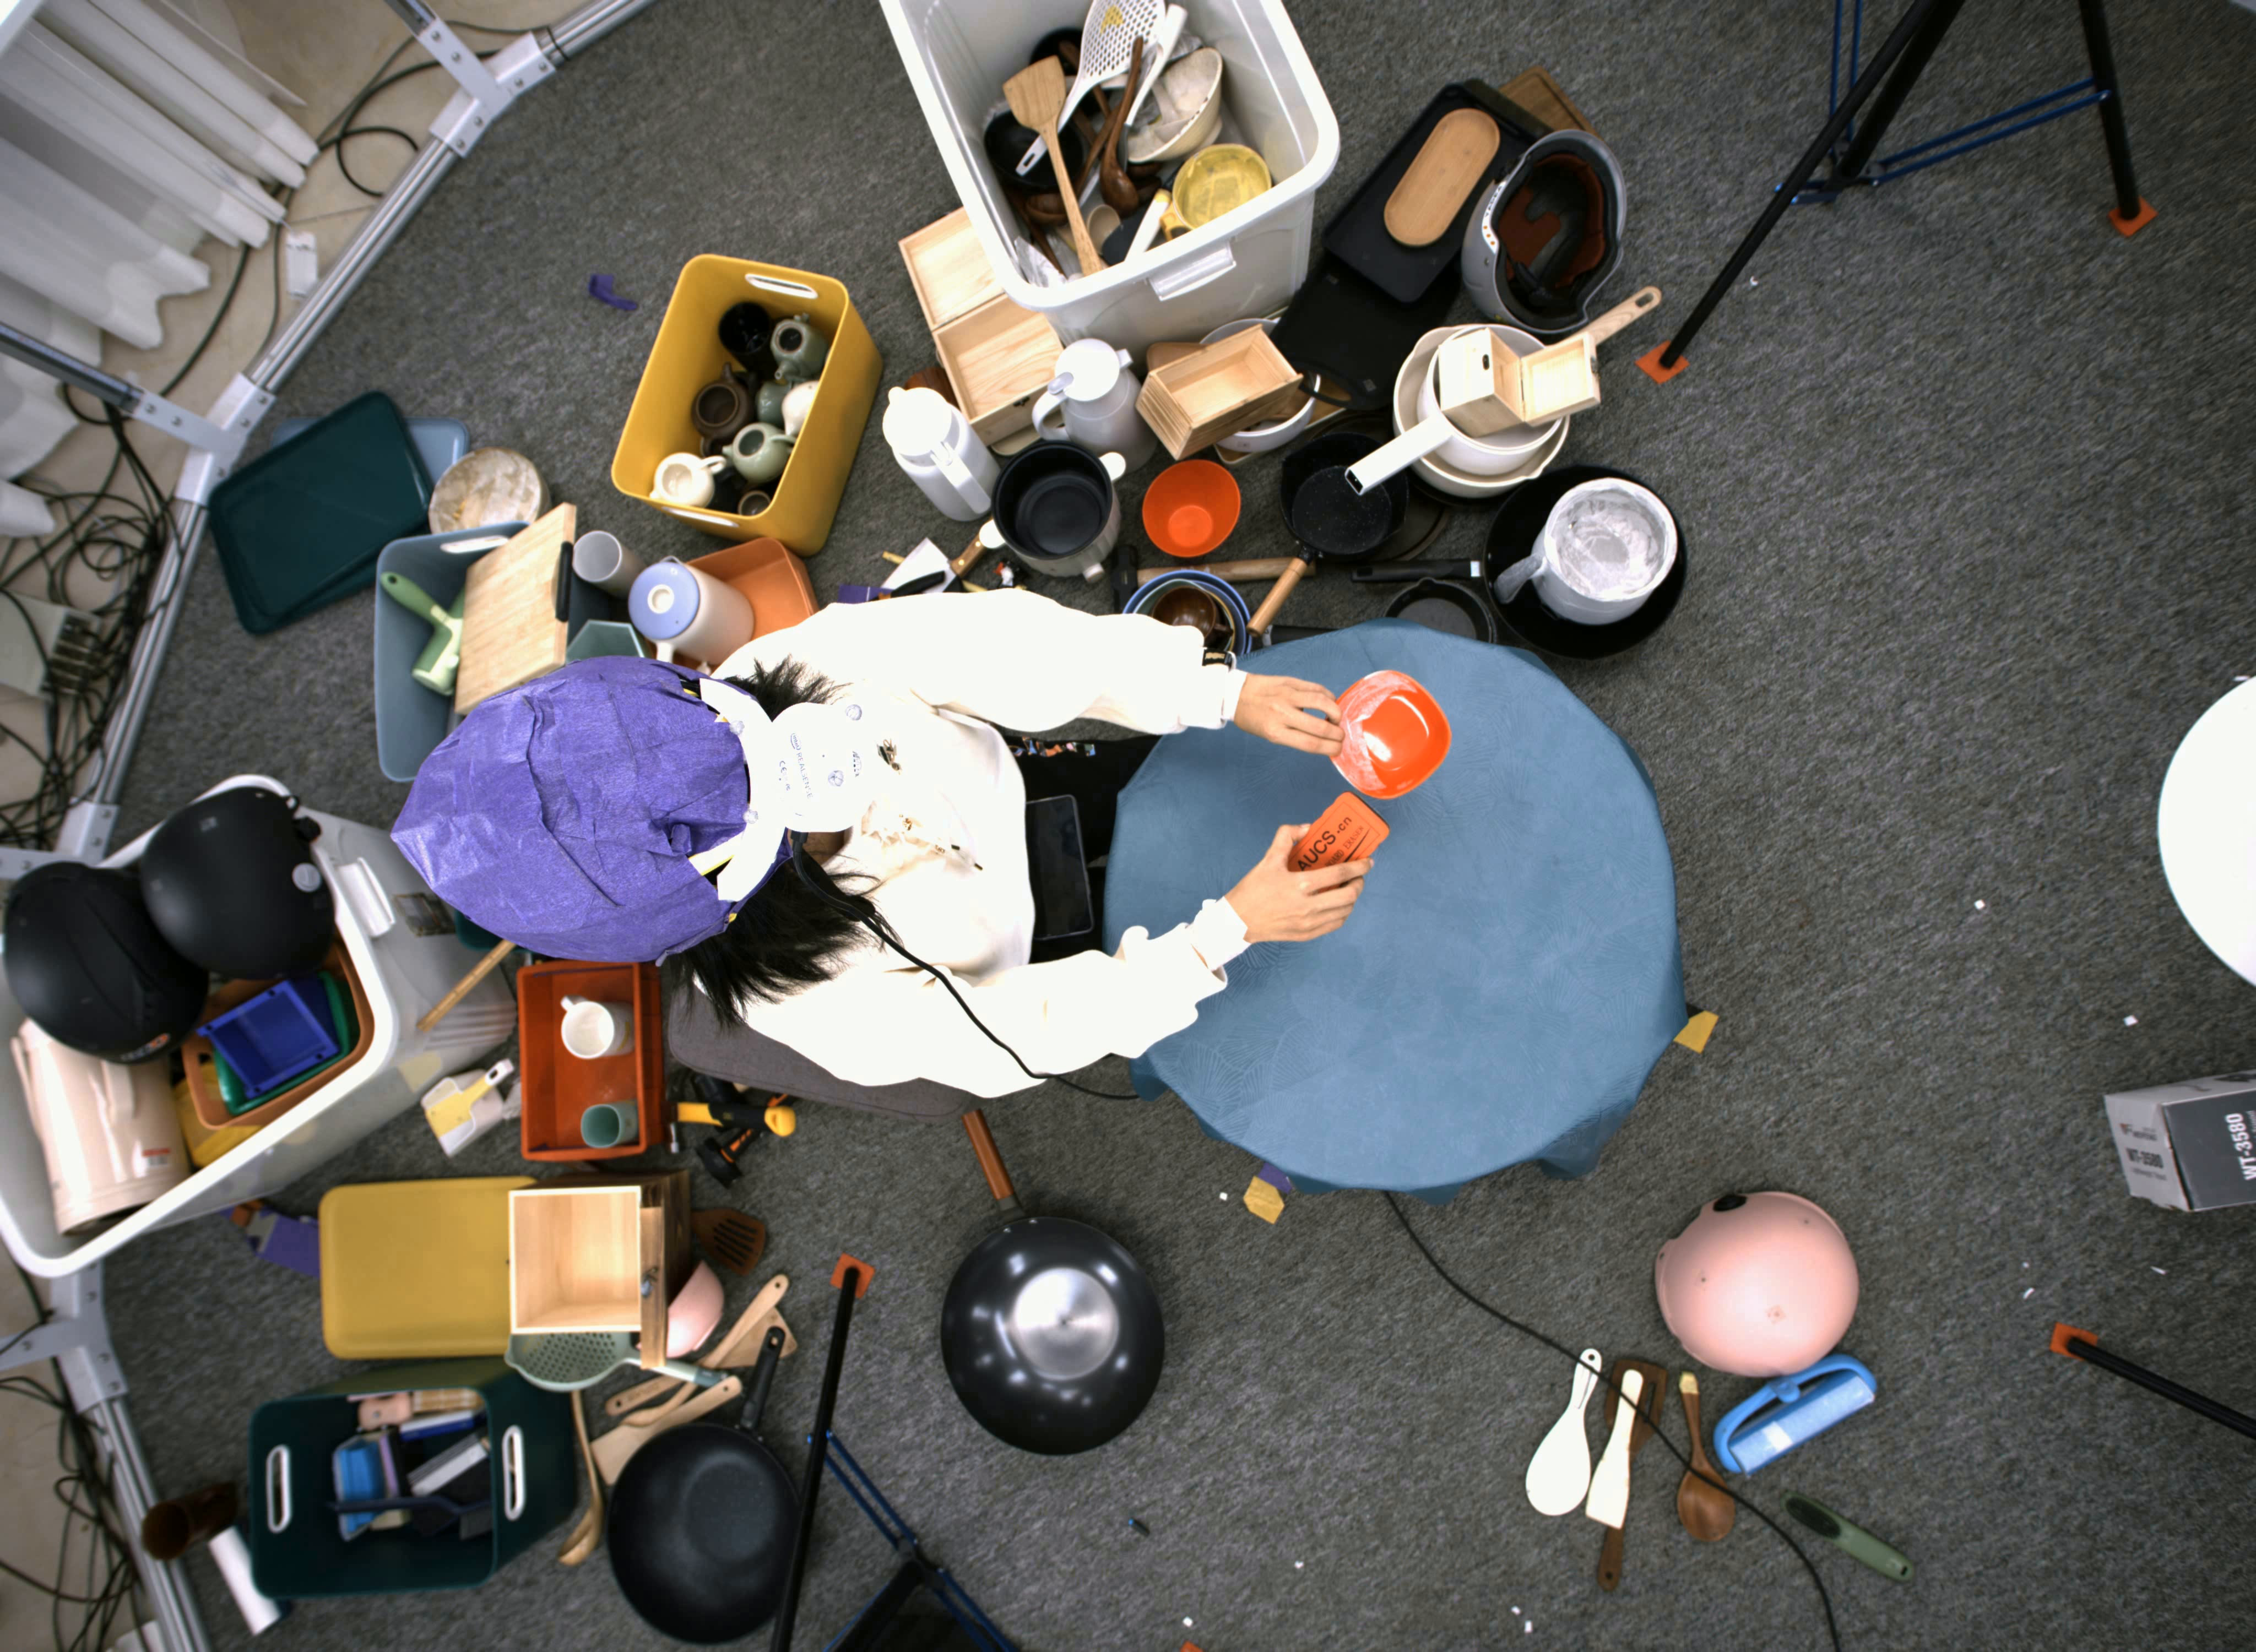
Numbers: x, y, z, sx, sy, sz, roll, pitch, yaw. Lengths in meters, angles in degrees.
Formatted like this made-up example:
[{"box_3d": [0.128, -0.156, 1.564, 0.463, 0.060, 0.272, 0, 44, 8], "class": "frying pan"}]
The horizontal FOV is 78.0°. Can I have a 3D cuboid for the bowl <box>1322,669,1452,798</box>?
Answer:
[{"box_3d": [0.244, -0.089, 1.280, 0.119, 0.050, 0.120, 4, 102, 20], "class": "bowl"}]

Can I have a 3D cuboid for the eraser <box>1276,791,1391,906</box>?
[{"box_3d": [0.191, 0.021, 1.287, 0.059, 0.022, 0.110, 42, 122, 4], "class": "eraser"}]
